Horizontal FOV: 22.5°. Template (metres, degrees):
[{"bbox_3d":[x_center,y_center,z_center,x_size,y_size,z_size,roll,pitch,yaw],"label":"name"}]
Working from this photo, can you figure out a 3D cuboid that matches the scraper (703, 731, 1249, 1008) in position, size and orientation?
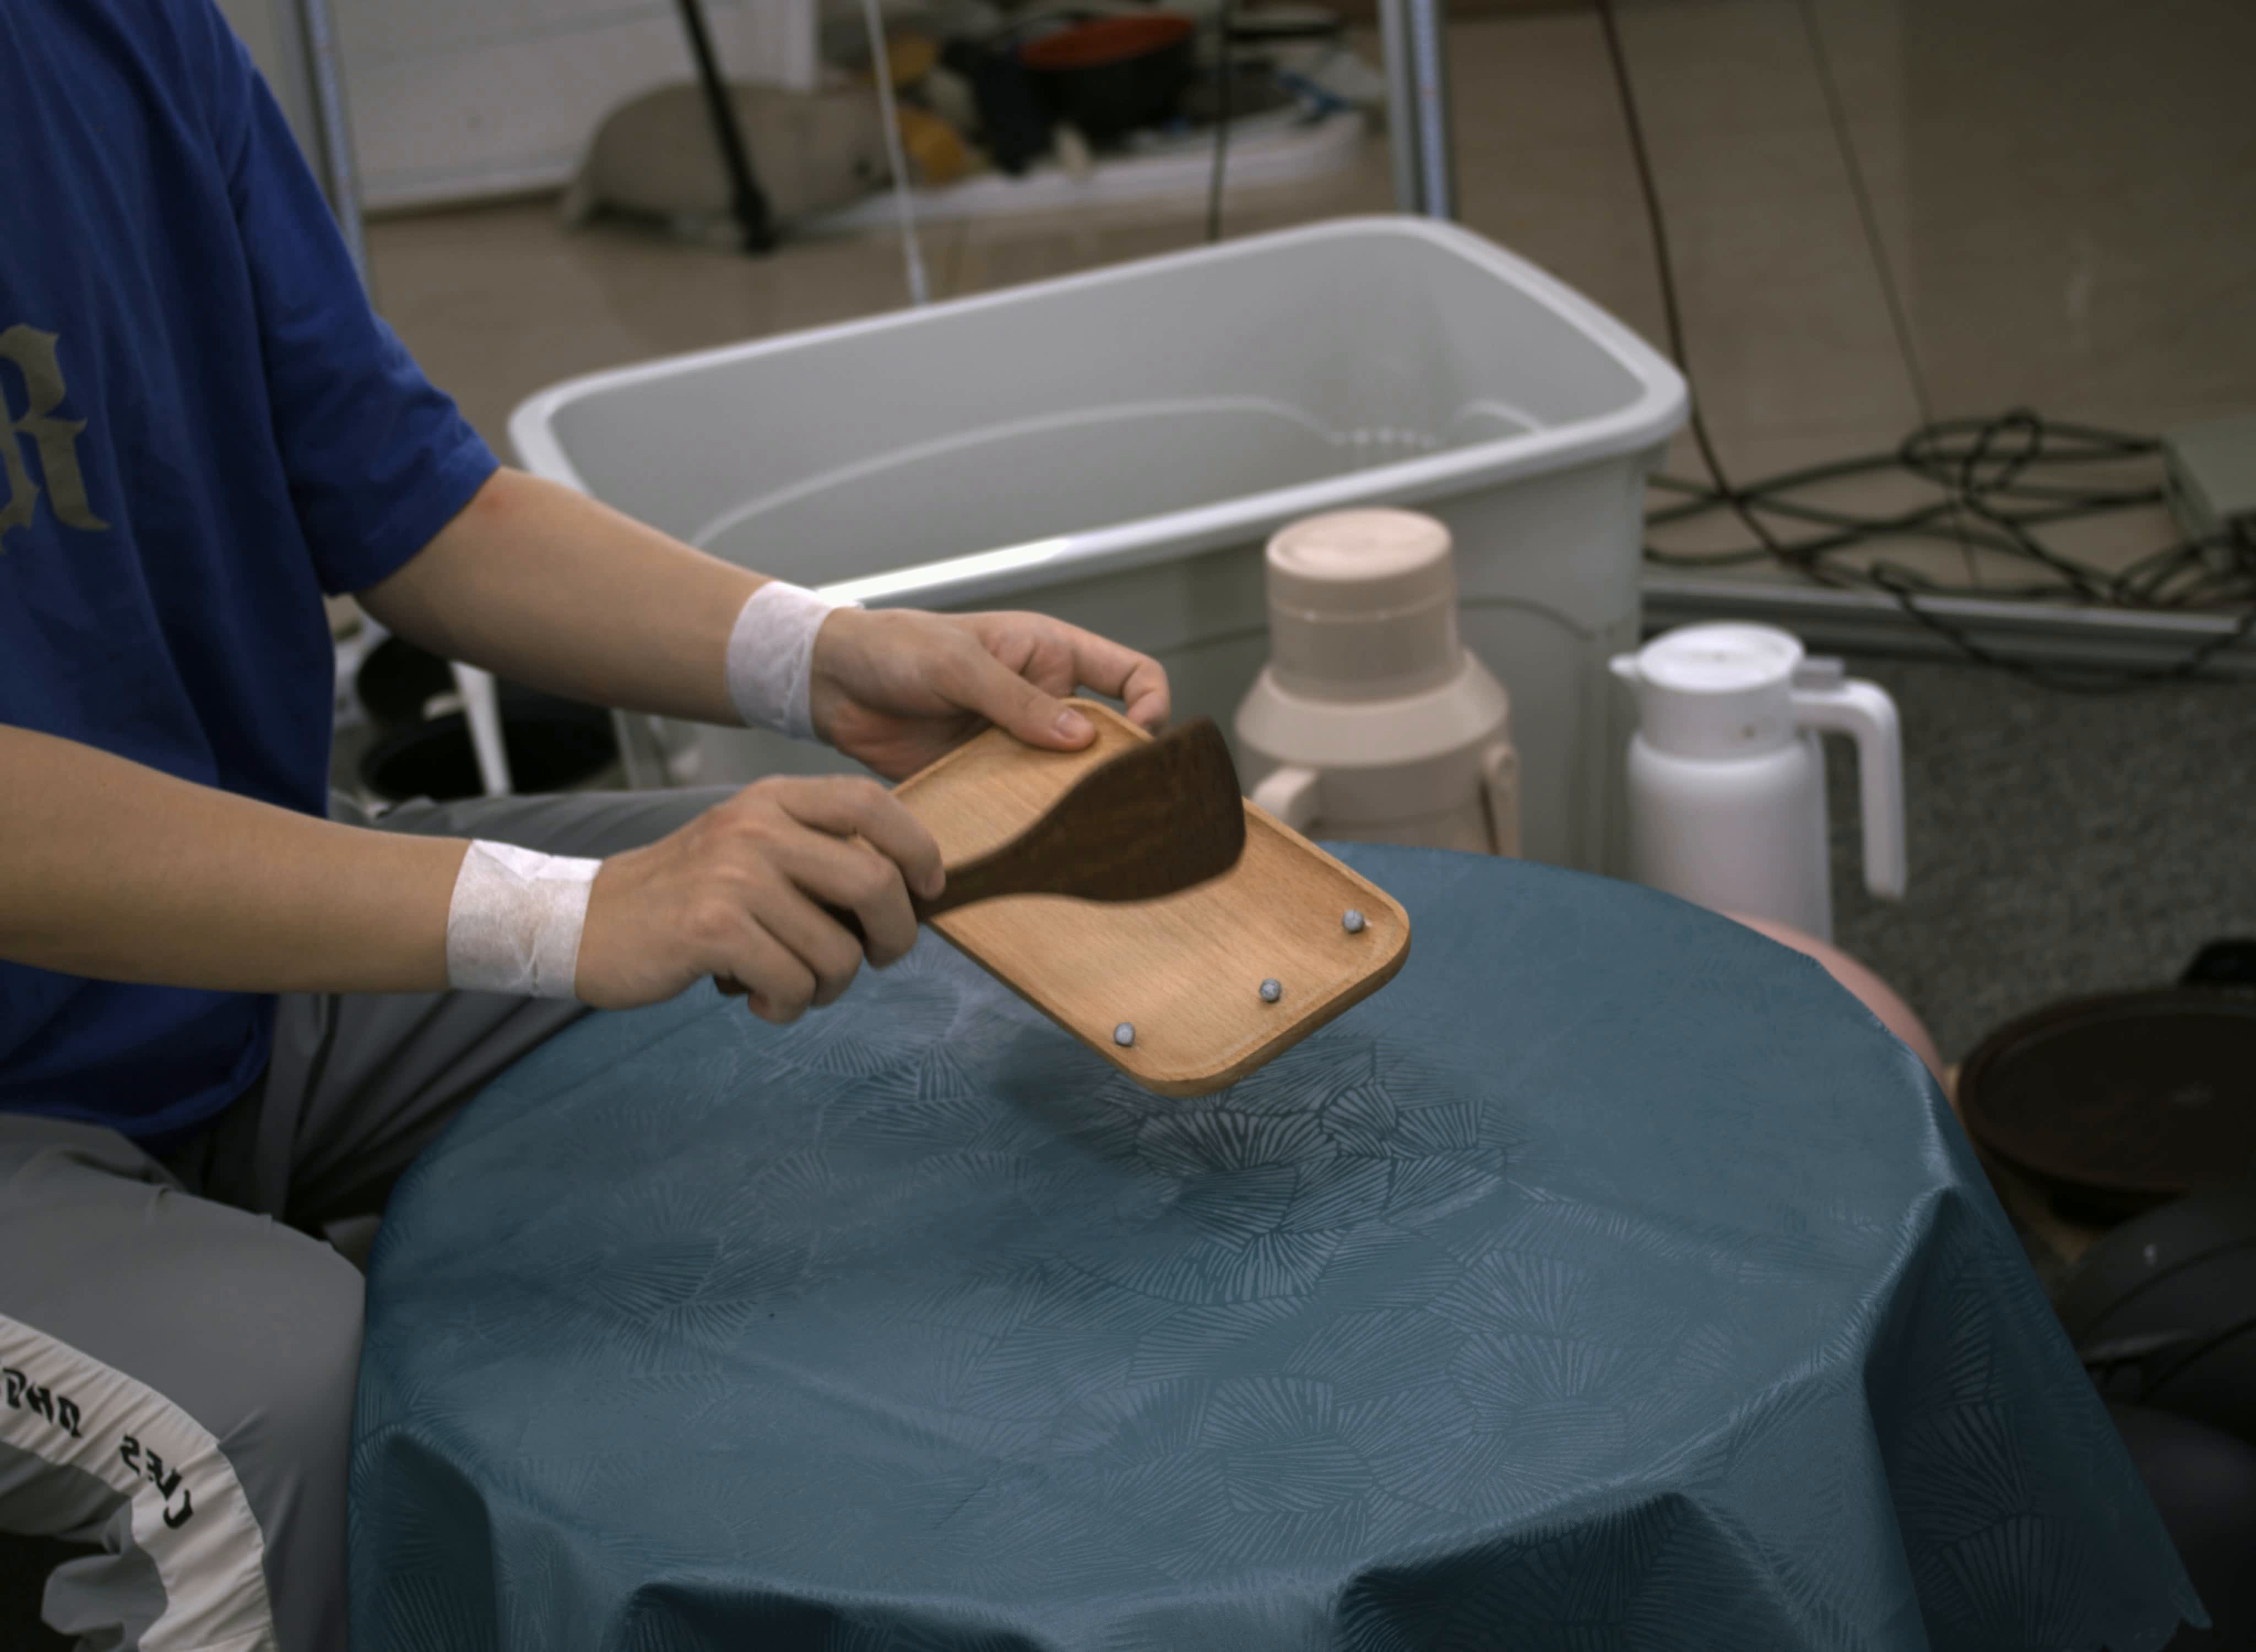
[{"bbox_3d":[-0.056,0.025,2.101,0.211,0.077,0.010,-18,38,-3],"label":"scraper"}]

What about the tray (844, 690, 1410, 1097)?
[{"bbox_3d":[-0.002,0.024,2.202,0.130,0.023,0.247,-30,39,-21],"label":"tray"}]
